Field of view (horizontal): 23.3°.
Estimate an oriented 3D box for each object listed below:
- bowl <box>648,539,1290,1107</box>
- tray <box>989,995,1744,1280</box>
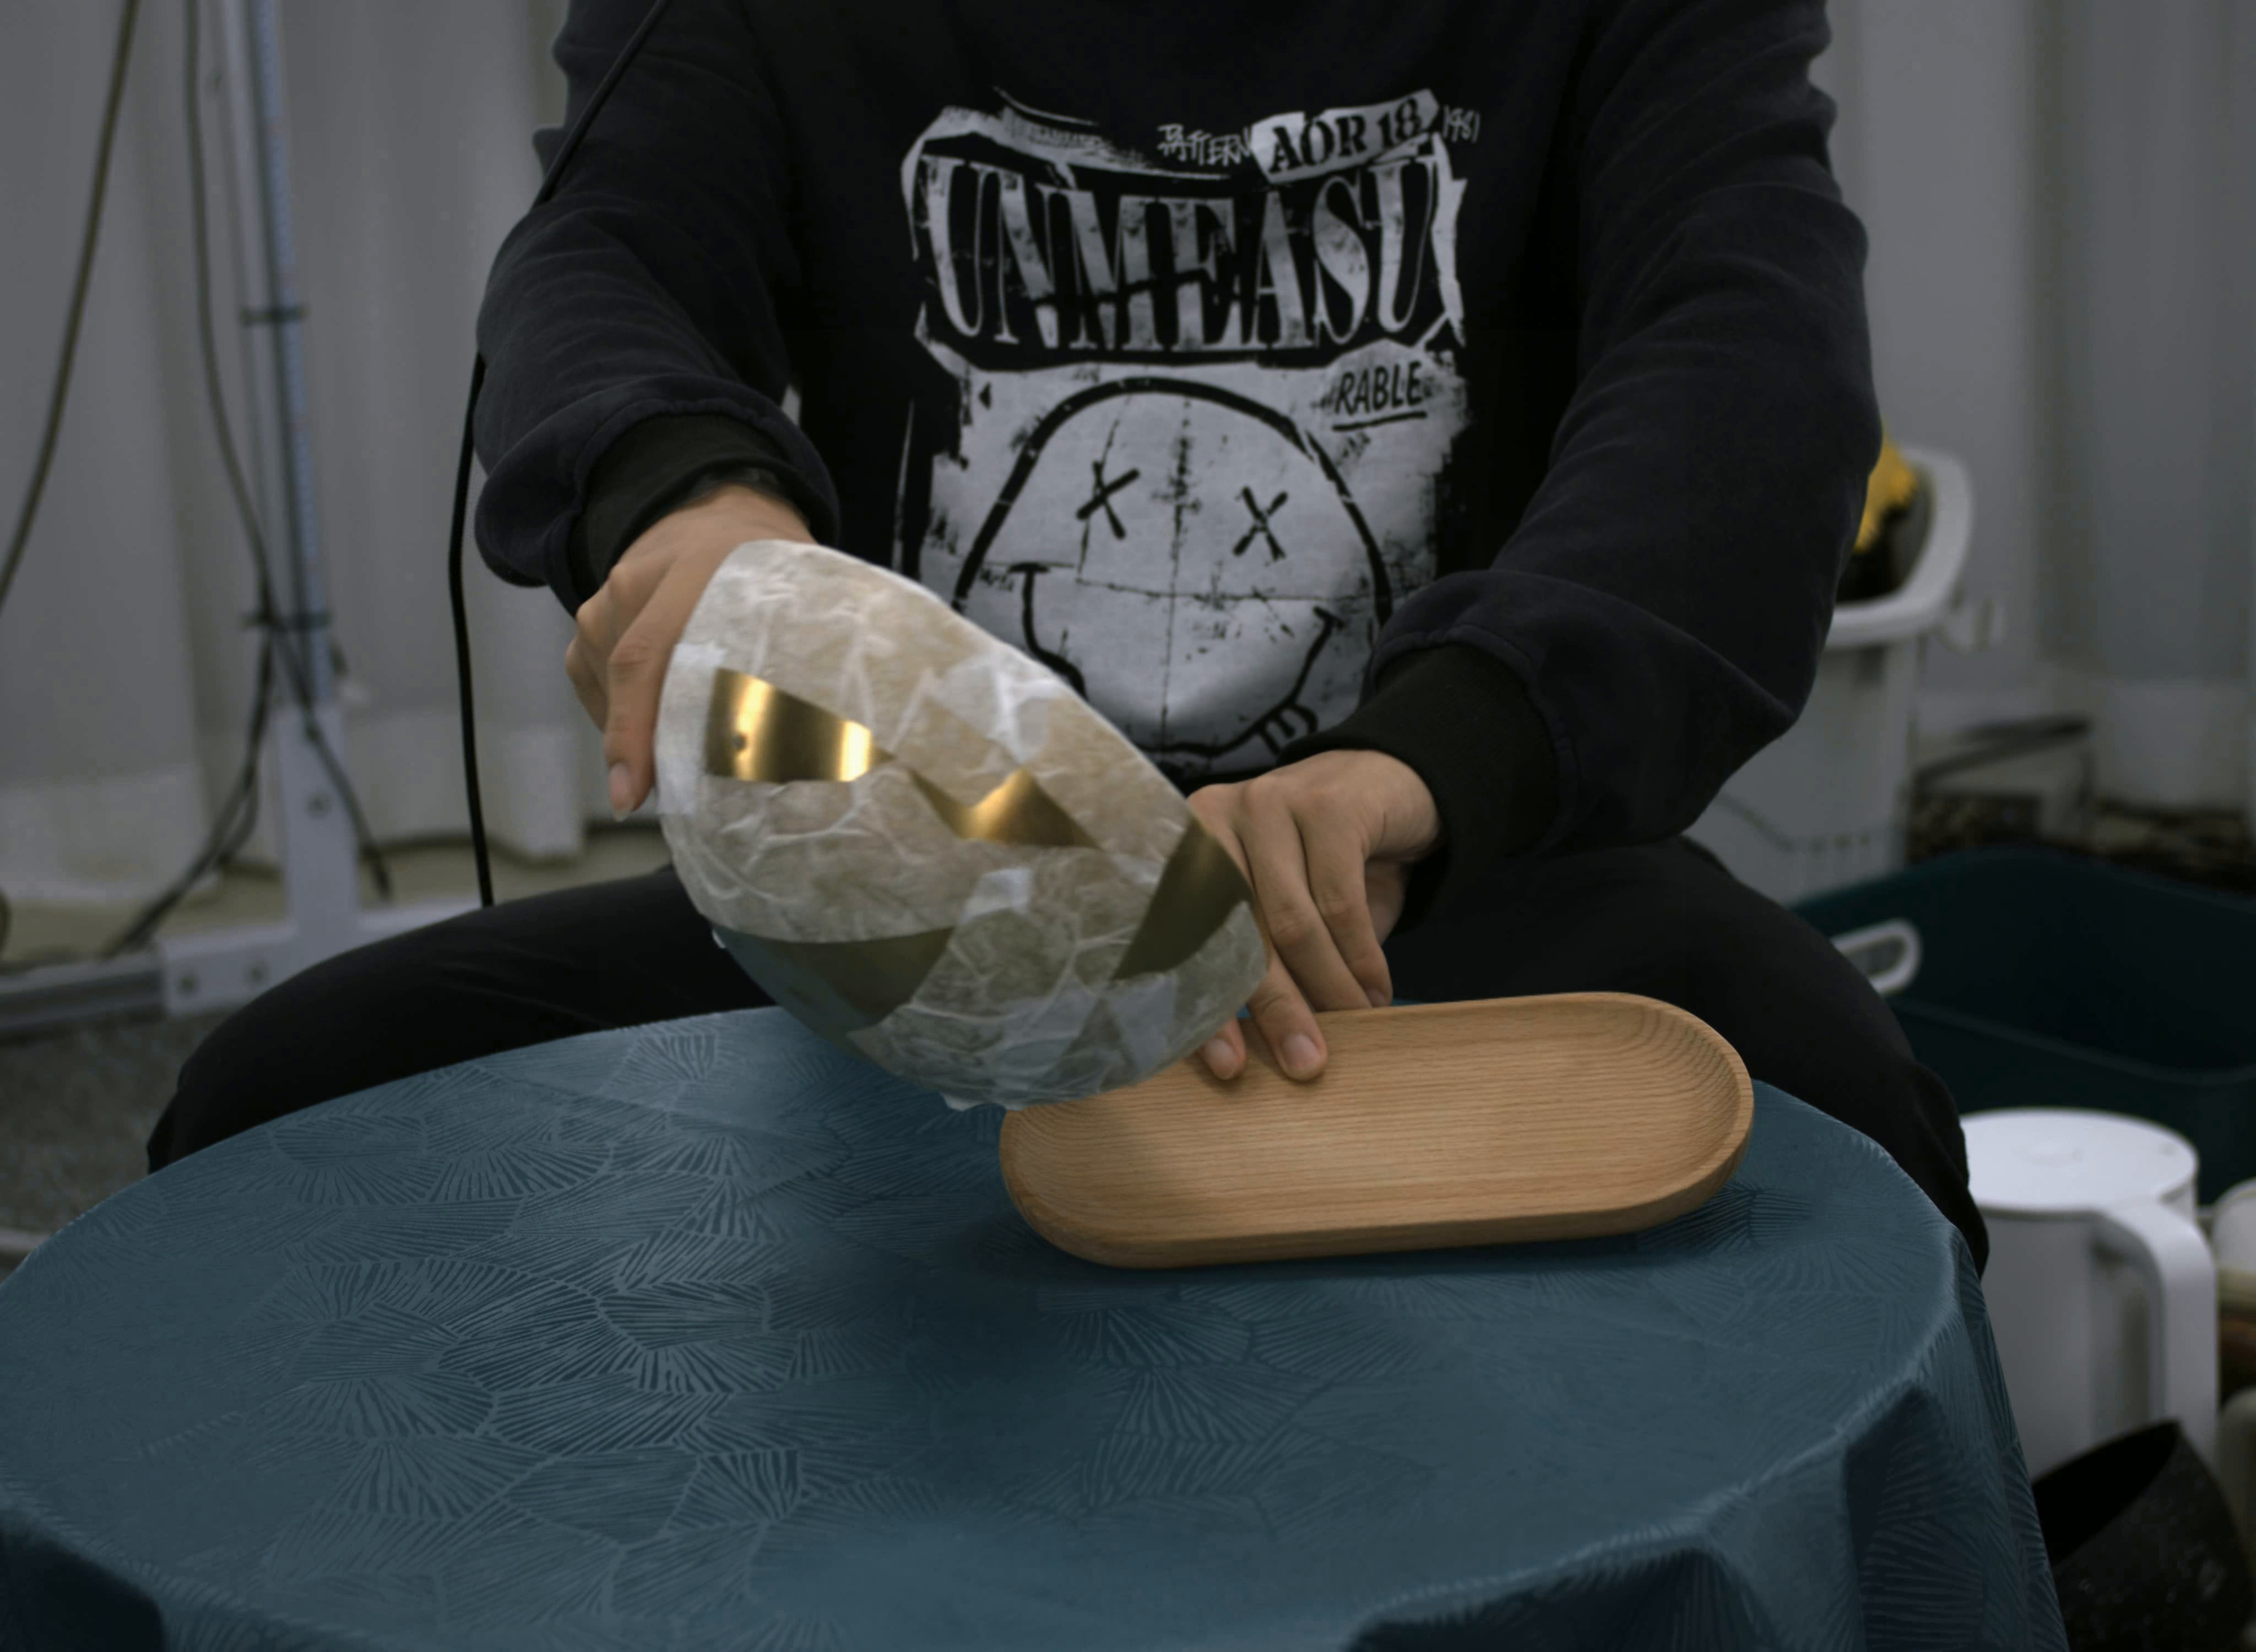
[{"bbox_3d":[-0.063,0.019,1.586,0.216,0.212,0.095,15,63,49],"label":"bowl"},{"bbox_3d":[0.073,0.096,1.670,0.230,0.020,0.103,-6,36,3],"label":"tray"}]
